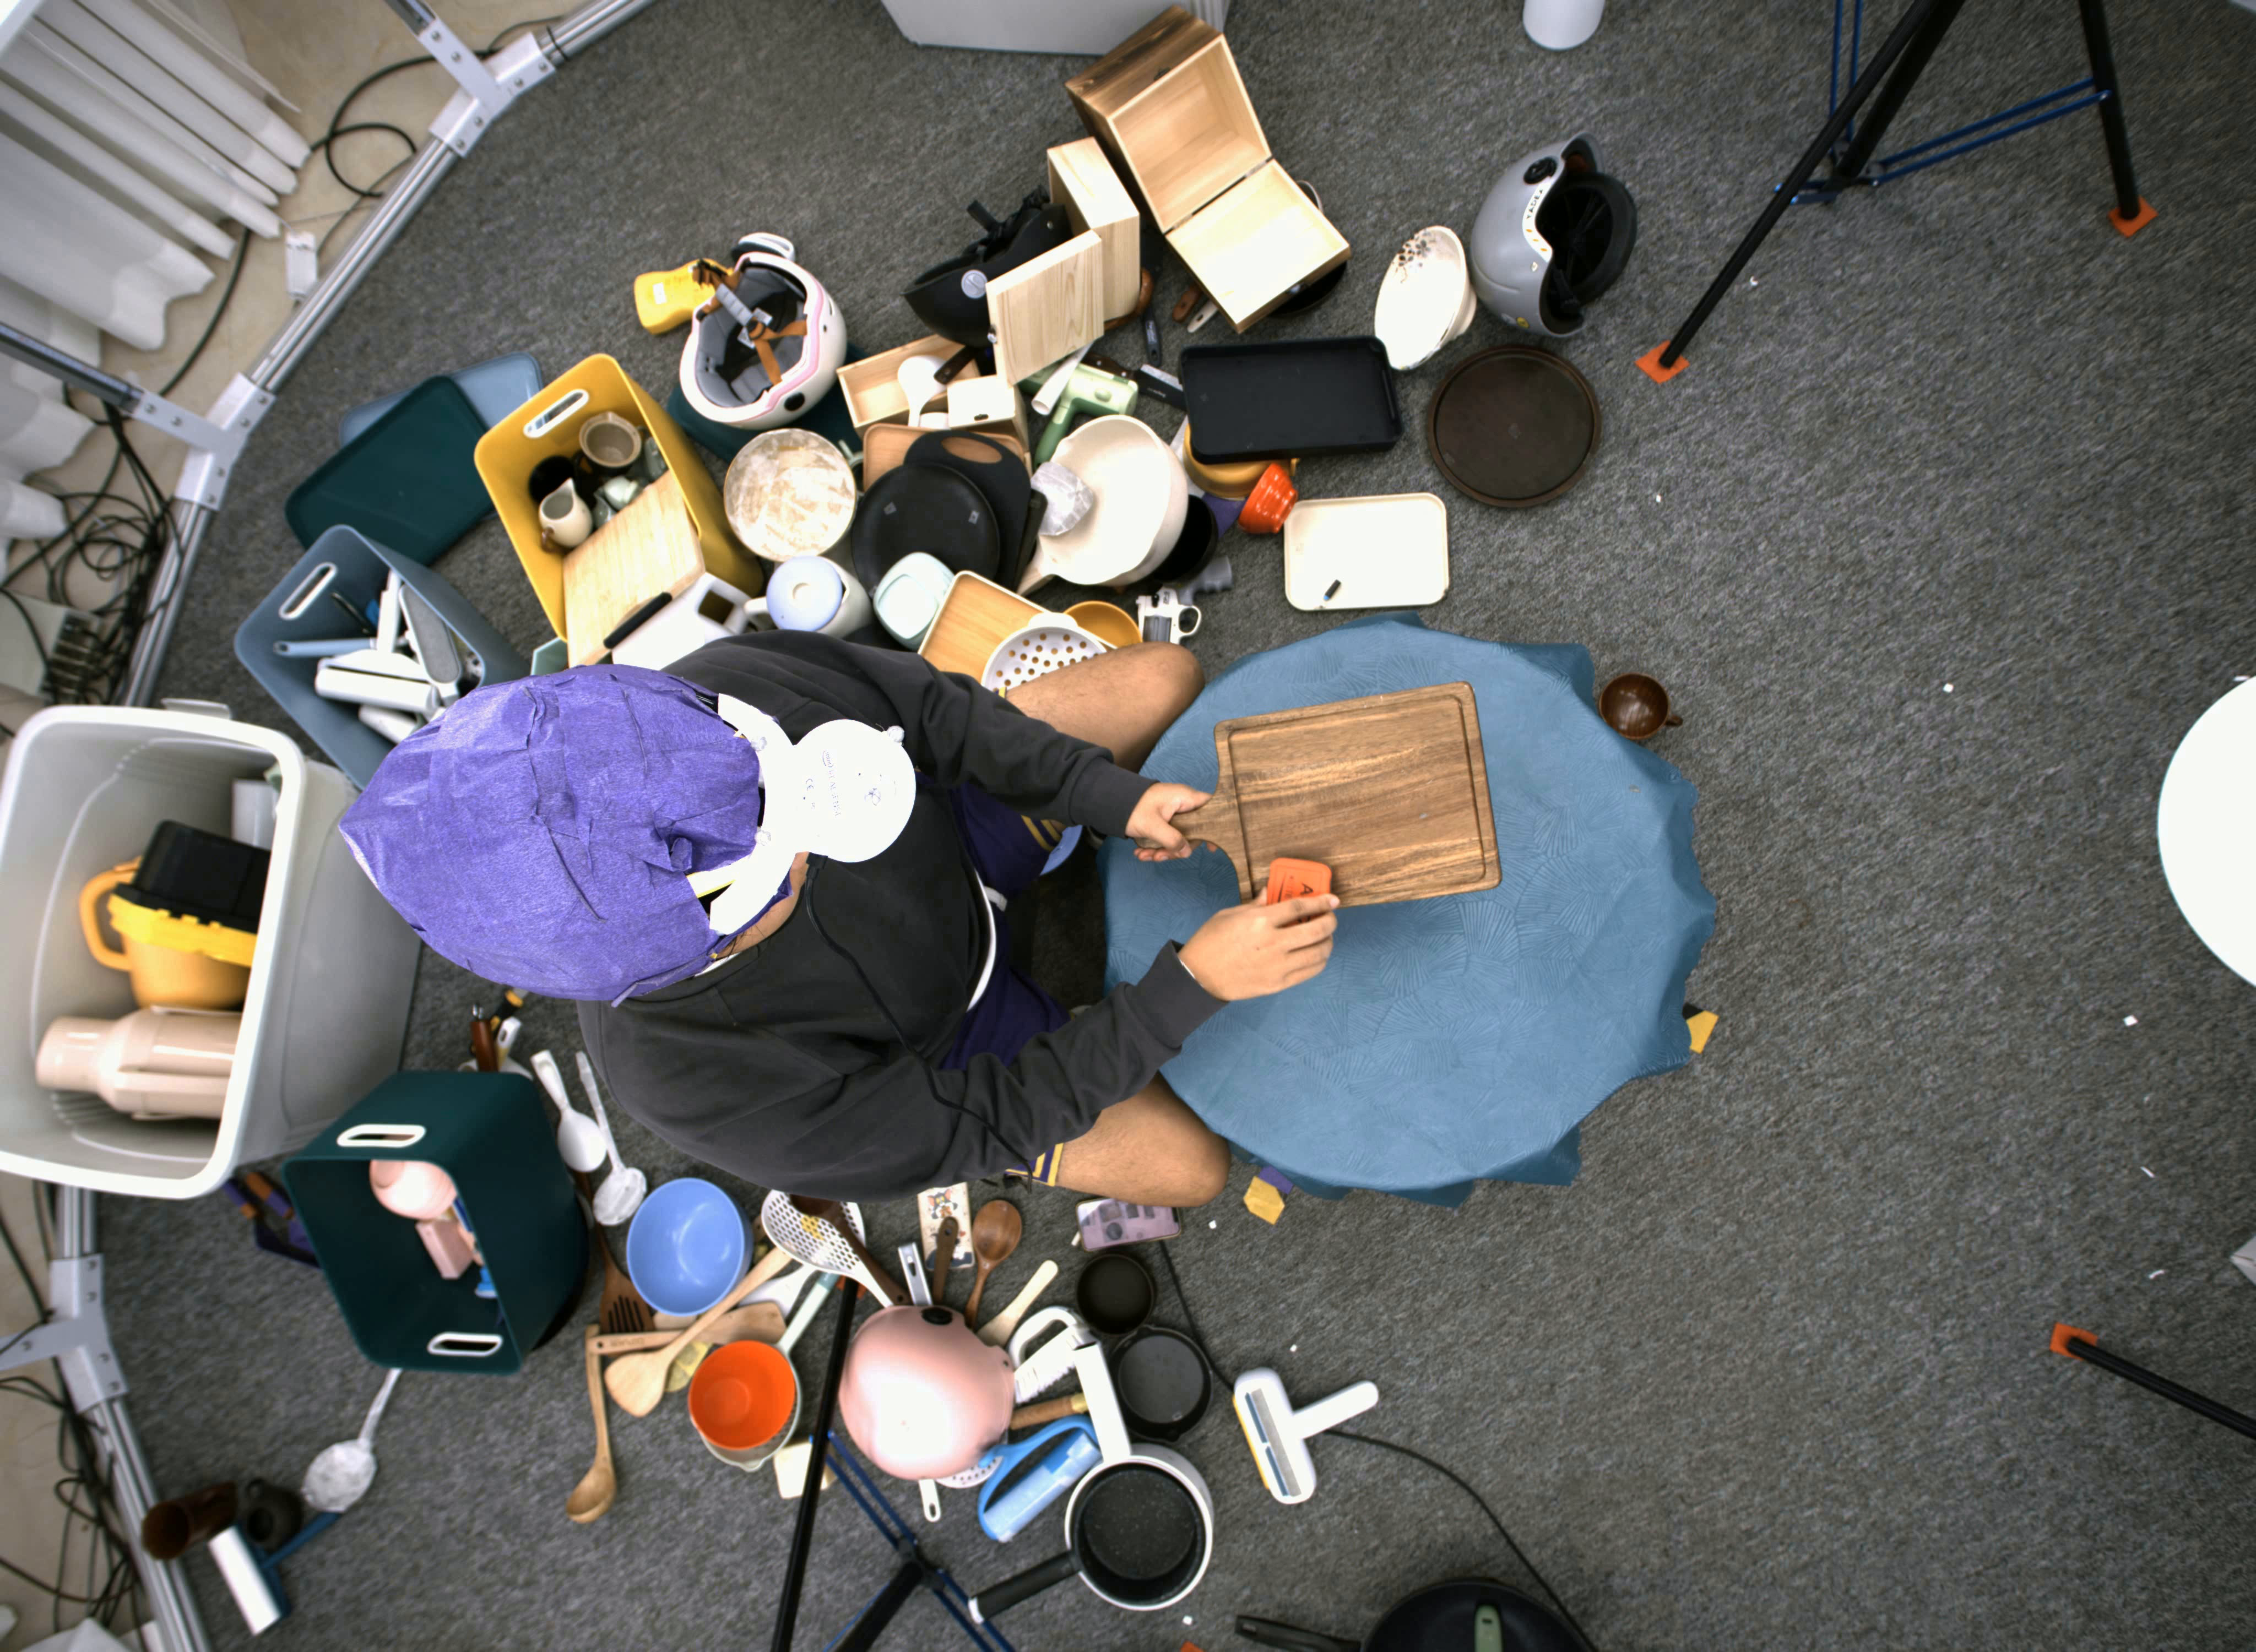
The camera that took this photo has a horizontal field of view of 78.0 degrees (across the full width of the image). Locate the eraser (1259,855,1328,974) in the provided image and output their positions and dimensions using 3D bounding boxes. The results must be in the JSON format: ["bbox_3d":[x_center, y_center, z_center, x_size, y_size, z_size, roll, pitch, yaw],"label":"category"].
[{"bbox_3d":[0.158,0.083,1.322,0.059,0.022,0.109,8,100,19],"label":"eraser"}]

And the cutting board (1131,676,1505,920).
[{"bbox_3d":[0.170,-0.017,1.326,0.355,0.023,0.202,-9,97,20],"label":"cutting board"}]
